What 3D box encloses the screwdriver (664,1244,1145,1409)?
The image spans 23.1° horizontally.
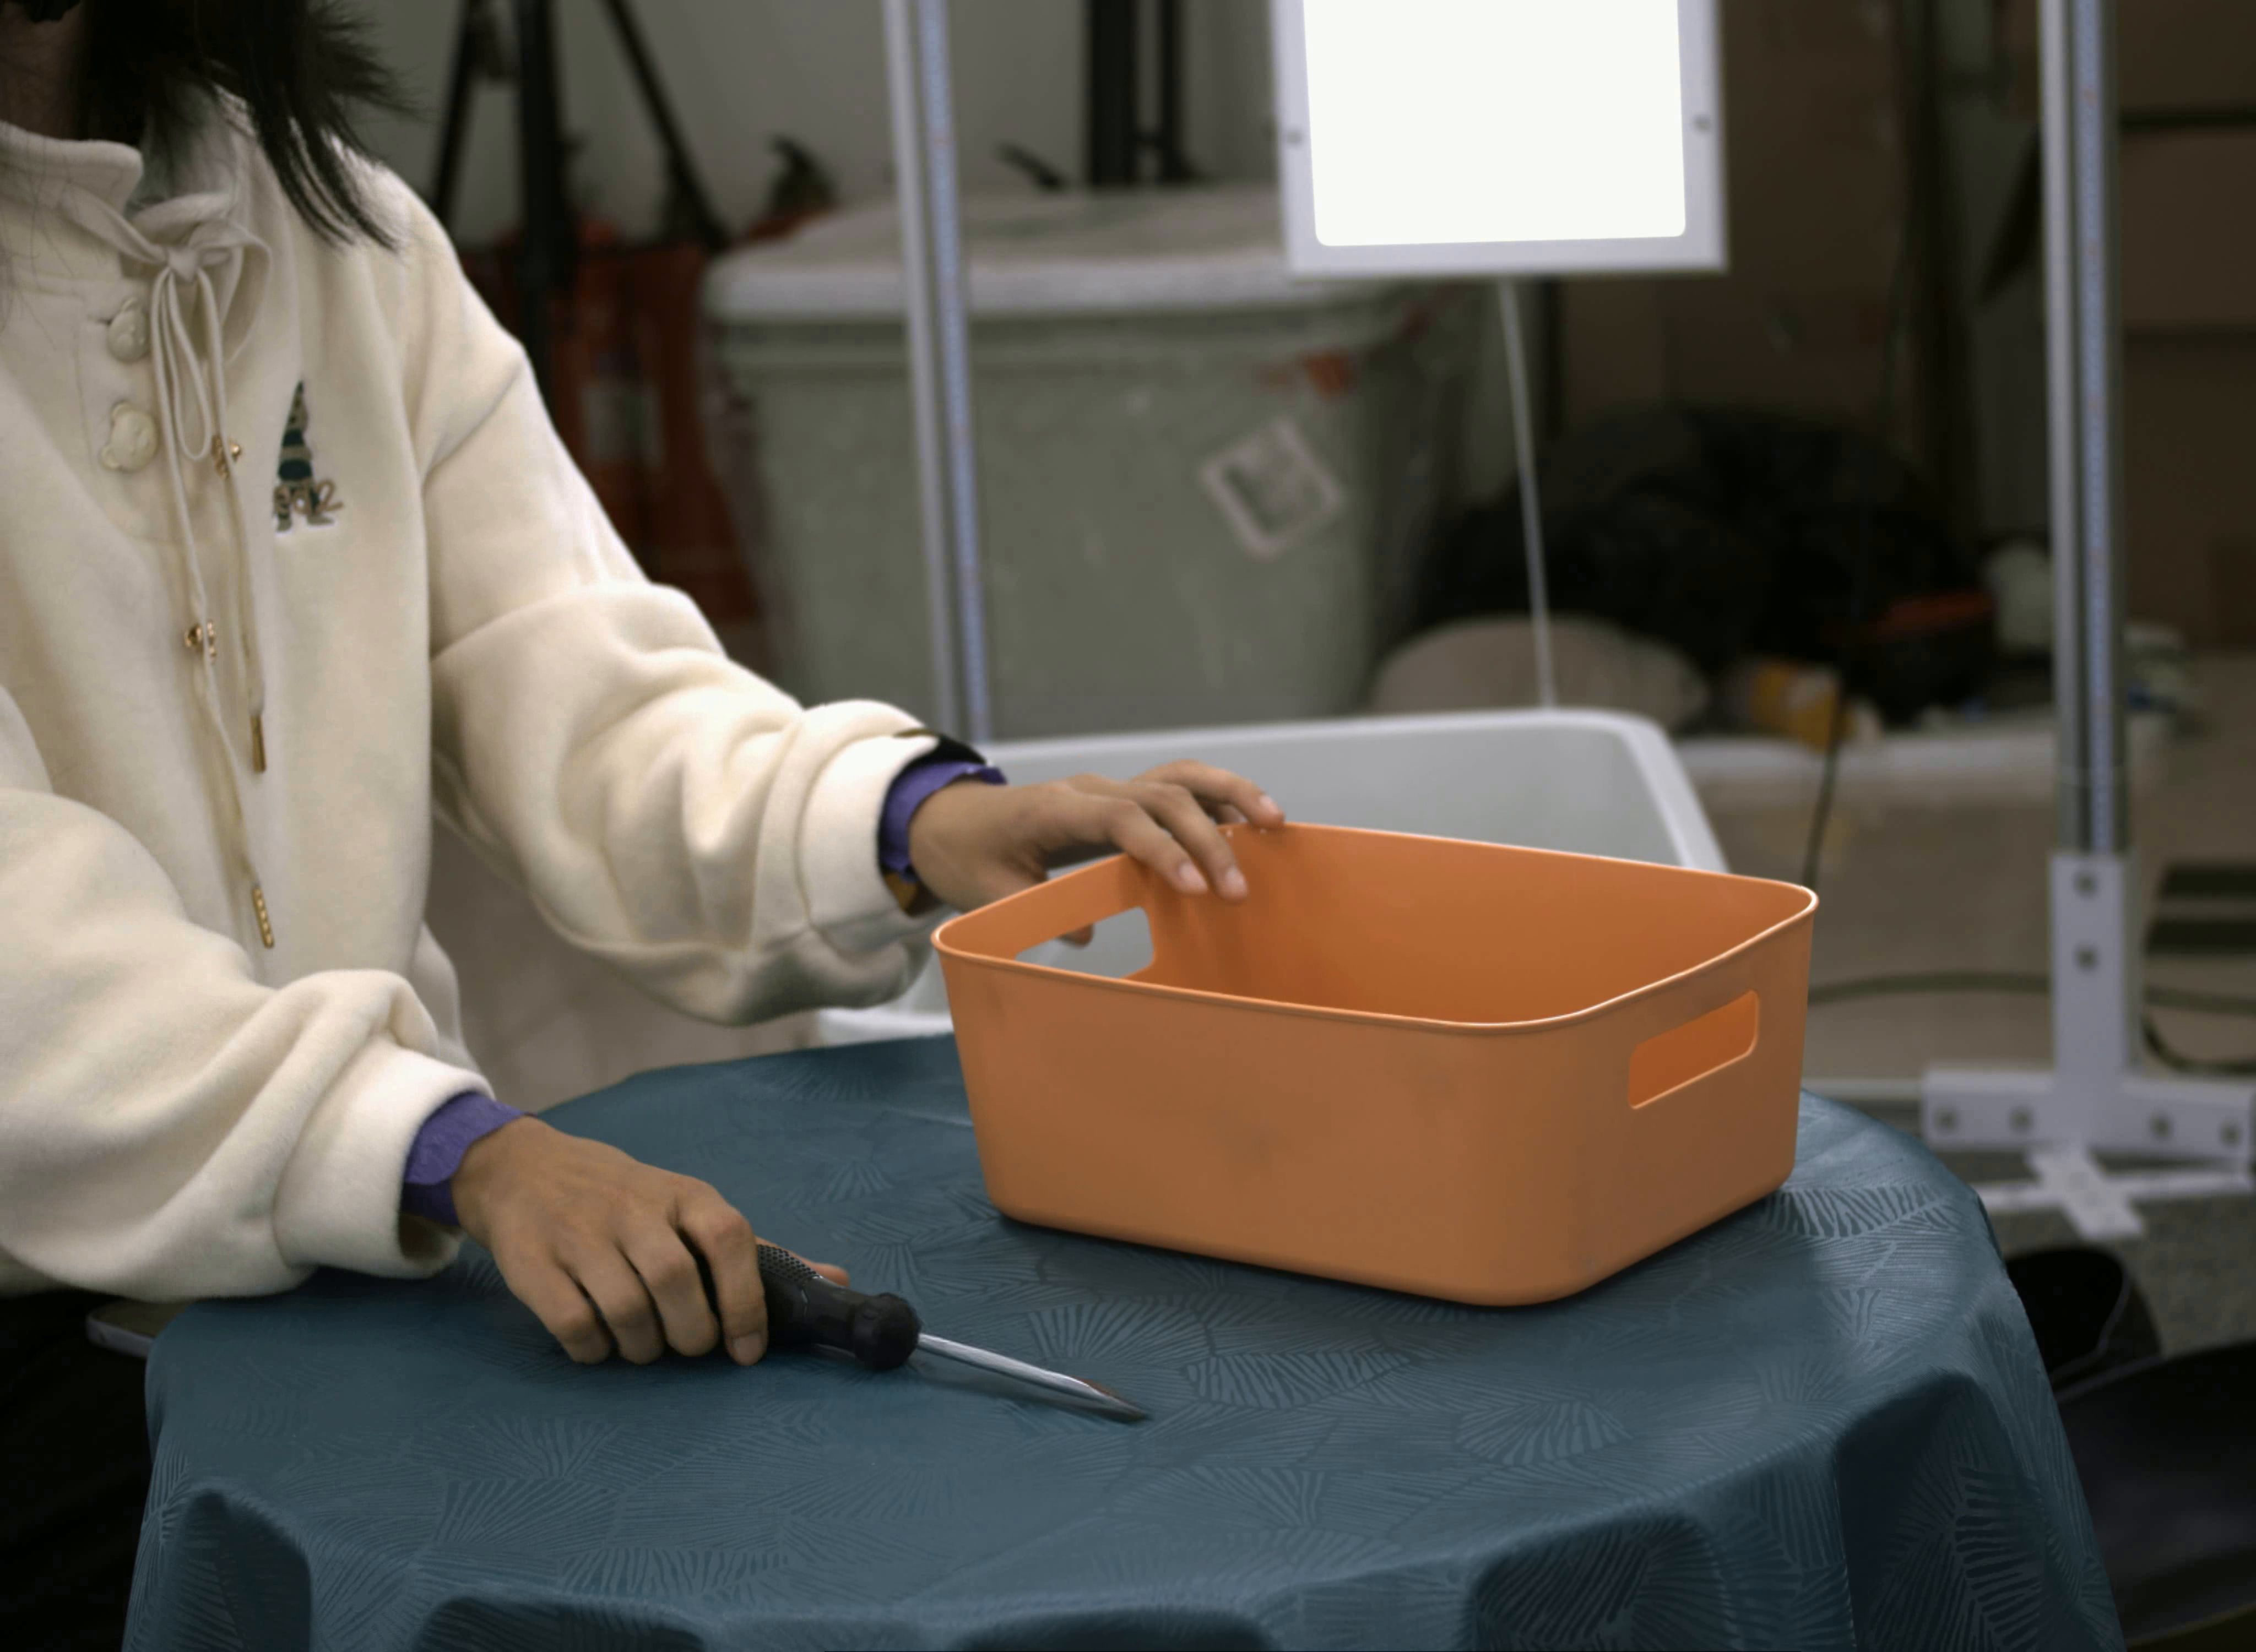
[{"bbox_3d":[-0.074,0.162,1.737,0.202,0.031,0.030,12,21,43],"label":"screwdriver"}]

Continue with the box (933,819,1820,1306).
[{"bbox_3d":[0.086,0.077,1.852,0.279,0.103,0.194,7,19,40],"label":"box"}]
